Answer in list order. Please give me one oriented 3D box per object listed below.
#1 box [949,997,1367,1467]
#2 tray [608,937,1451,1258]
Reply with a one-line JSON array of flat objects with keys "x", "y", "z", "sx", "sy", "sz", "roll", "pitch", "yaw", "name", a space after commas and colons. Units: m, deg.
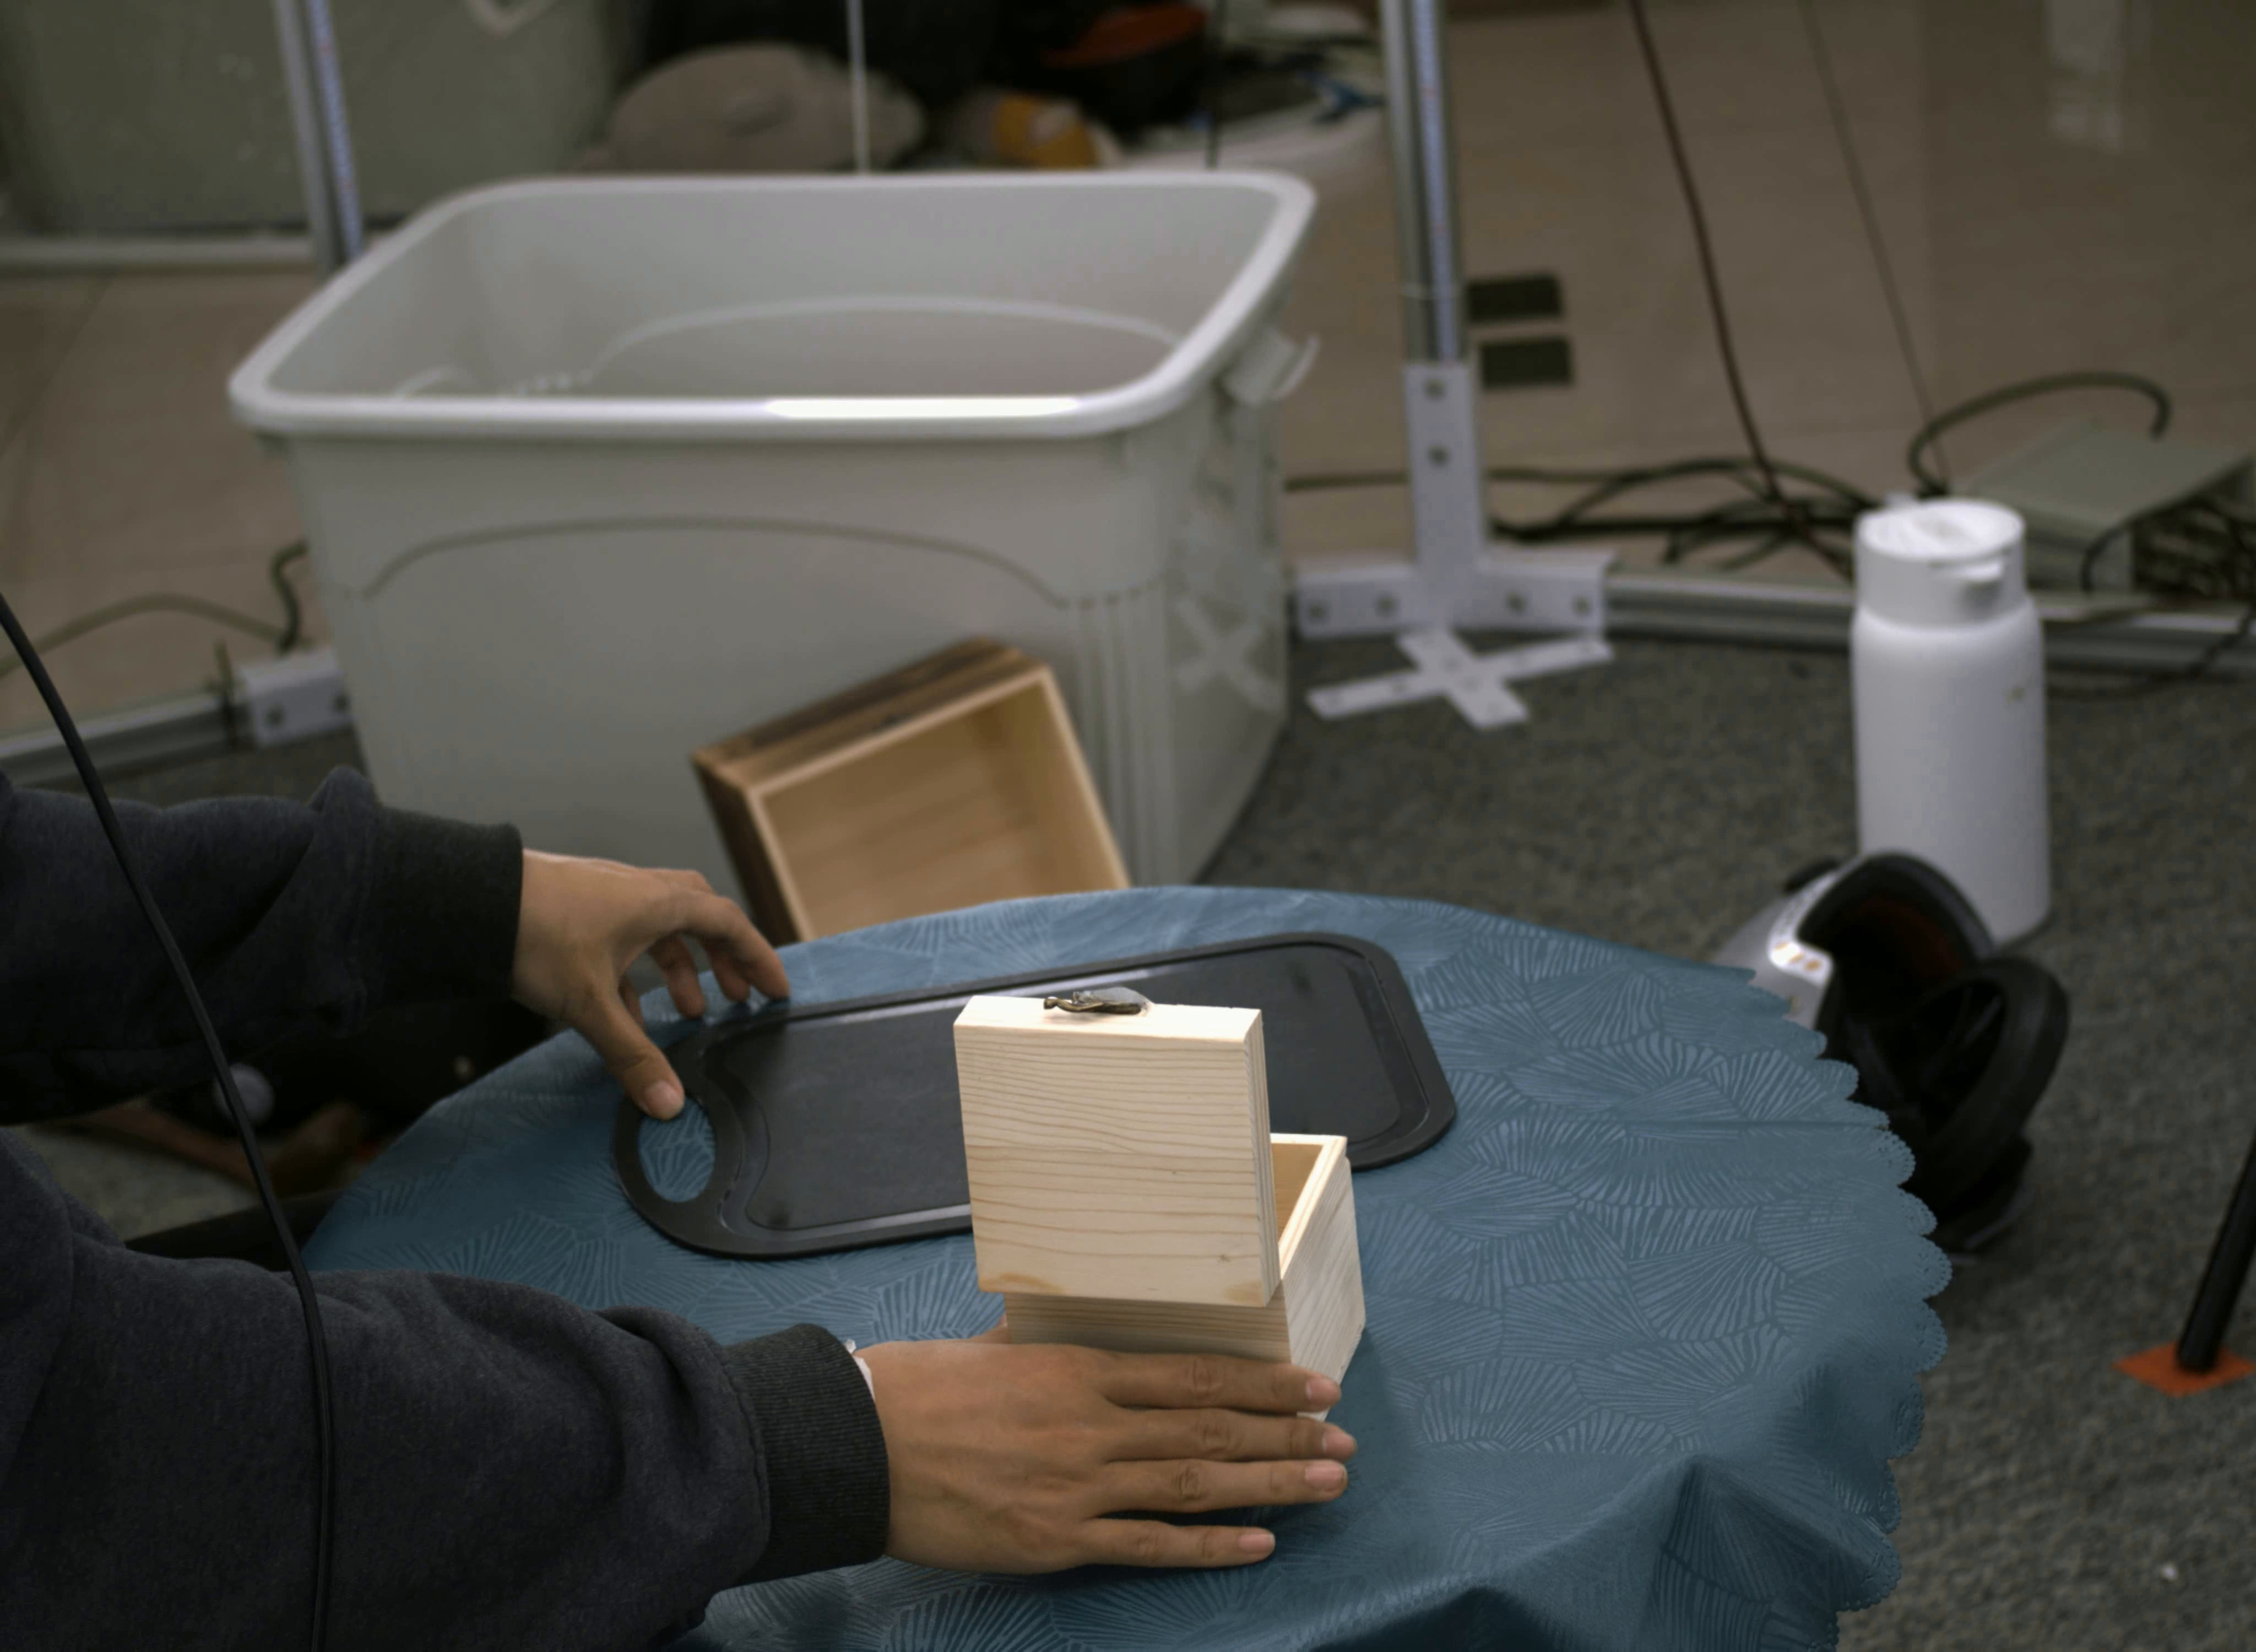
[{"x": 0.013, "y": 0.121, "z": 1.960, "sx": 0.102, "sy": 0.187, "sz": 0.132, "roll": 1, "pitch": 29, "yaw": 15, "name": "box"}, {"x": -0.043, "y": 0.104, "z": 2.225, "sx": 0.325, "sy": 0.010, "sz": 0.208, "roll": -8, "pitch": 25, "yaw": -4, "name": "tray"}]
